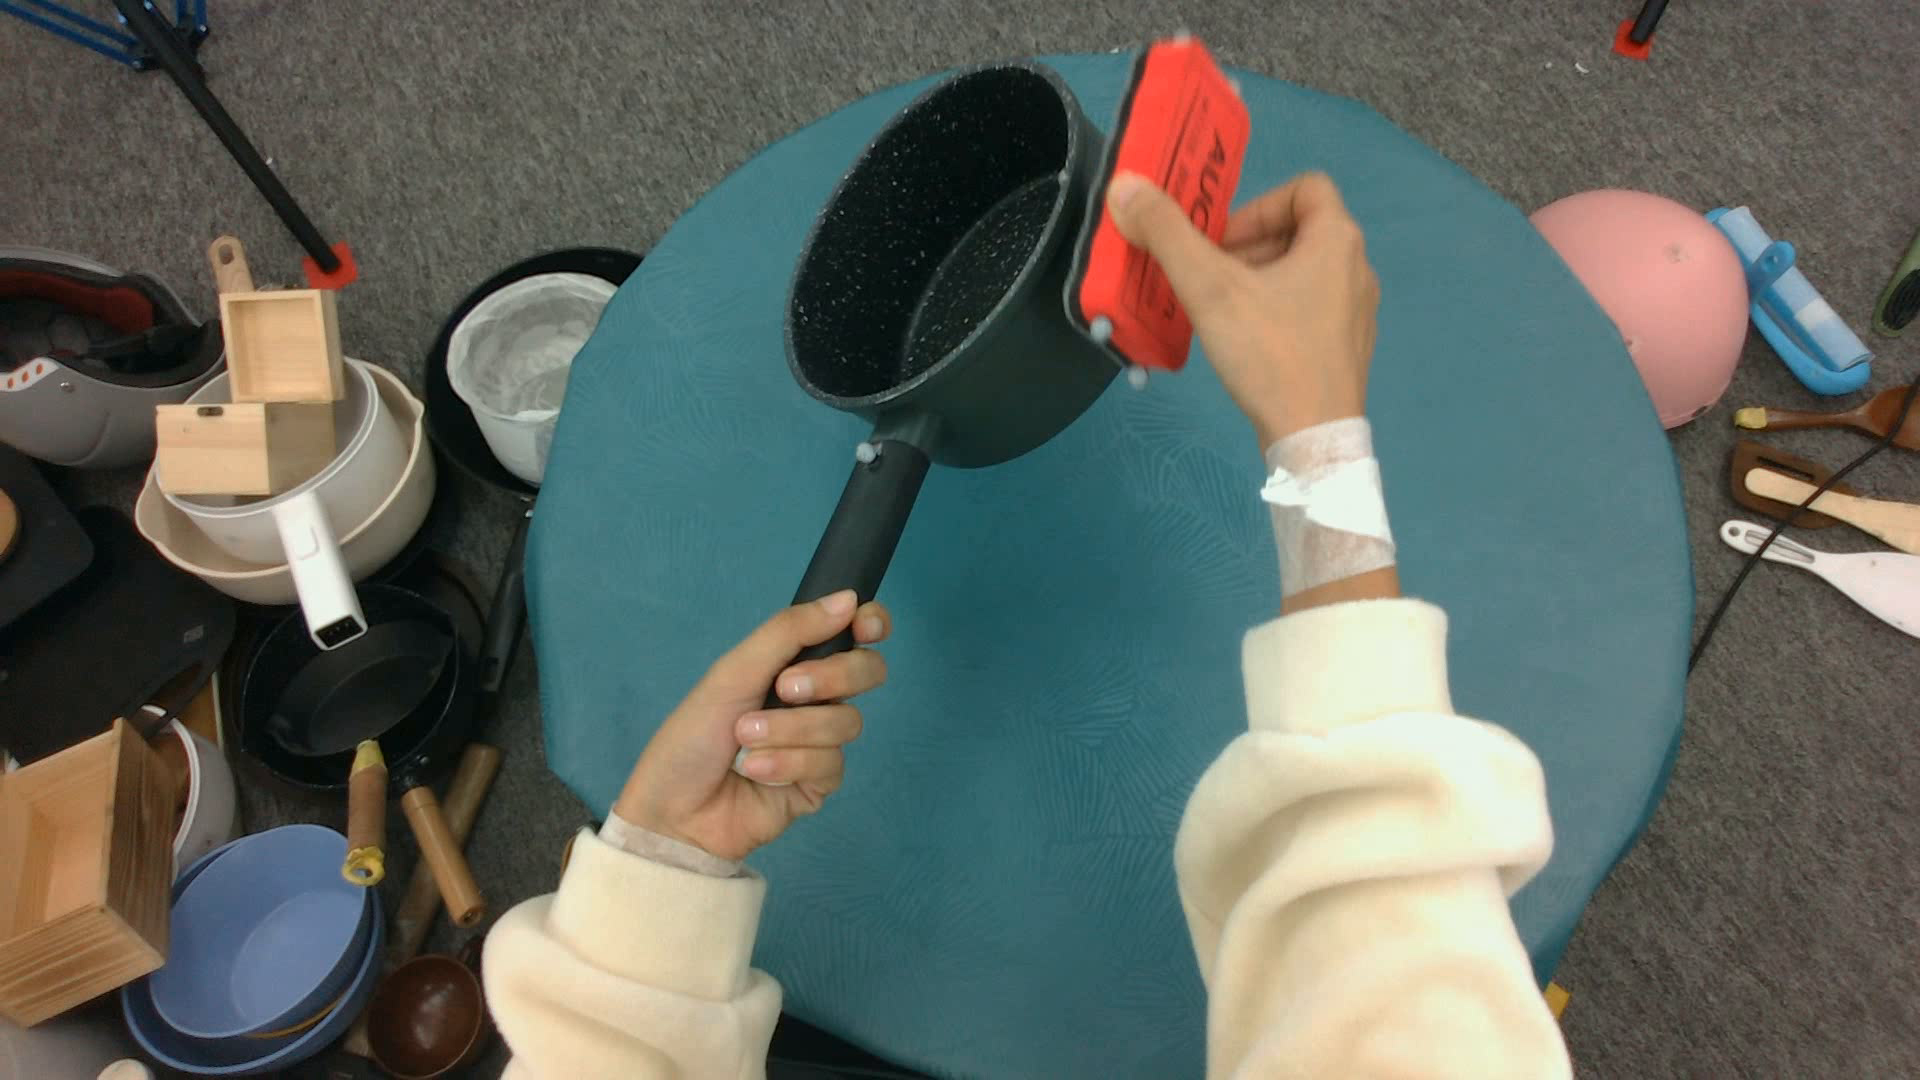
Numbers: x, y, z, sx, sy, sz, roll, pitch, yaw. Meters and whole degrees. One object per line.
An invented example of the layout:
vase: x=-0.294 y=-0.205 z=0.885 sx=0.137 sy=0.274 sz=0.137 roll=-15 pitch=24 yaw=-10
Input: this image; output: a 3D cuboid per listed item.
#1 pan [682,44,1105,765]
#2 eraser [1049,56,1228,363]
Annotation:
pan: x=-0.024 y=-0.054 z=0.585 sx=0.171 sy=0.086 sz=0.330 roll=-4 pitch=62 yaw=45
eraser: x=0.070 y=-0.126 z=0.529 sx=0.023 sy=0.059 sz=0.108 roll=8 pitch=74 yaw=39
